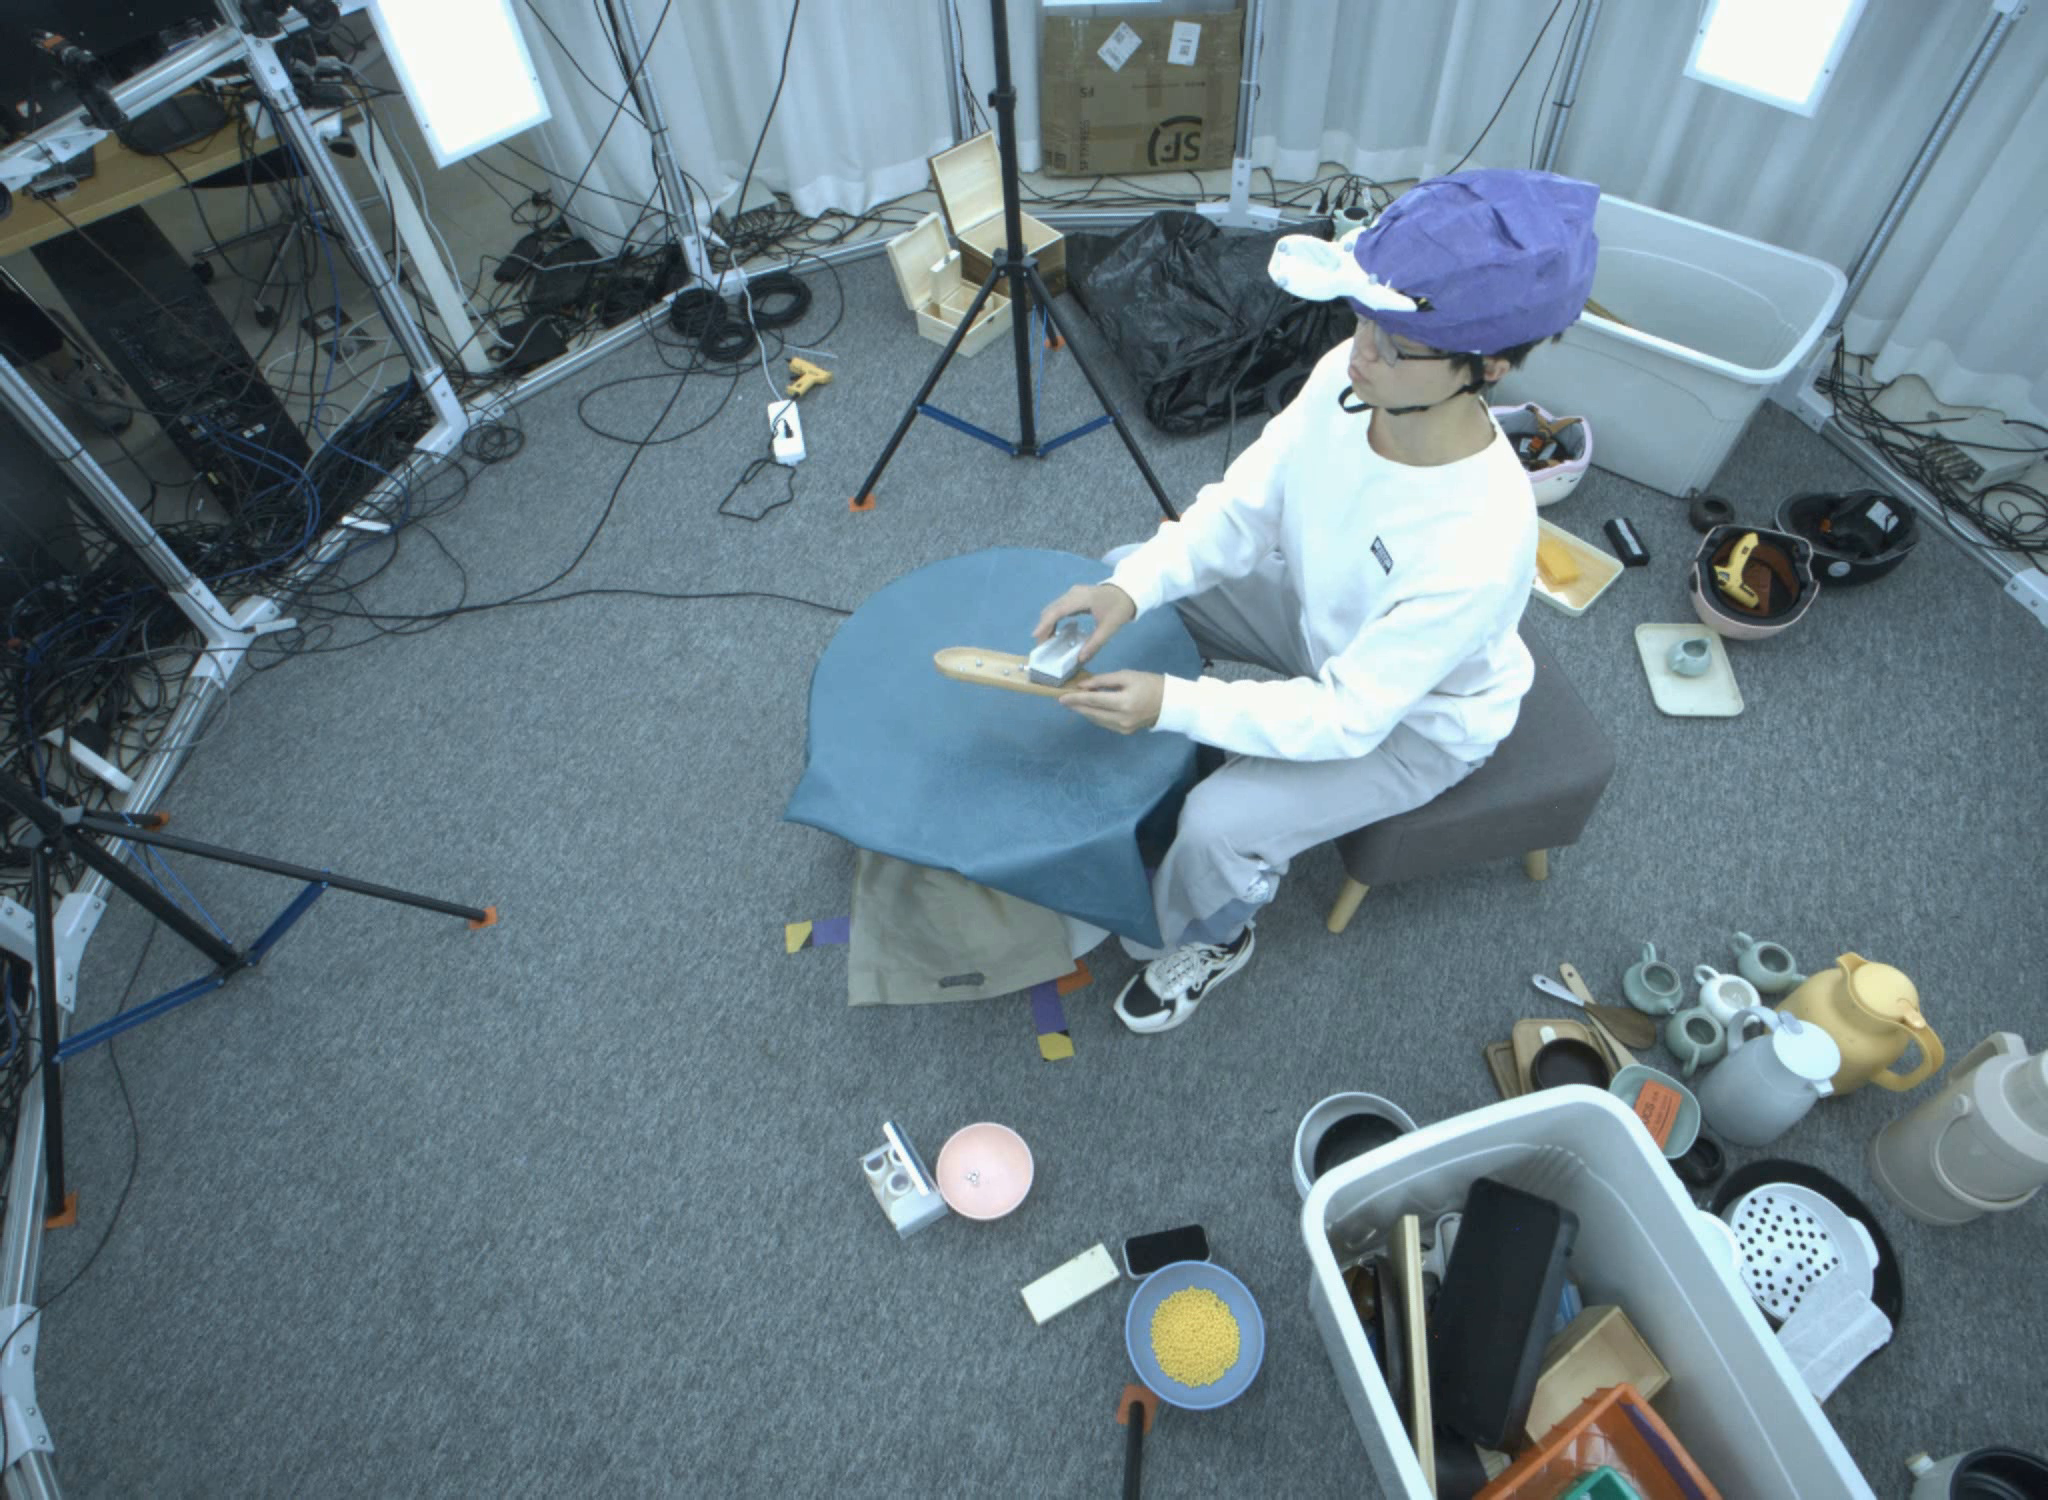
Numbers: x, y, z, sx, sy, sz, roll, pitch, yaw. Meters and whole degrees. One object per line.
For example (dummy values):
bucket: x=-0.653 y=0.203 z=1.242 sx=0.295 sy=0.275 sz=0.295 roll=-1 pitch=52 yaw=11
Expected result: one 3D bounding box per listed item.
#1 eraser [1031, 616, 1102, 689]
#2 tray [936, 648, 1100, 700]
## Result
eraser: x=0.059 y=-0.135 z=1.712 sx=0.049 sy=0.047 sz=0.135 roll=23 pitch=37 yaw=14
tray: x=-0.010 y=-0.106 z=1.701 sx=0.230 sy=0.020 sz=0.101 roll=12 pitch=27 yaw=5
